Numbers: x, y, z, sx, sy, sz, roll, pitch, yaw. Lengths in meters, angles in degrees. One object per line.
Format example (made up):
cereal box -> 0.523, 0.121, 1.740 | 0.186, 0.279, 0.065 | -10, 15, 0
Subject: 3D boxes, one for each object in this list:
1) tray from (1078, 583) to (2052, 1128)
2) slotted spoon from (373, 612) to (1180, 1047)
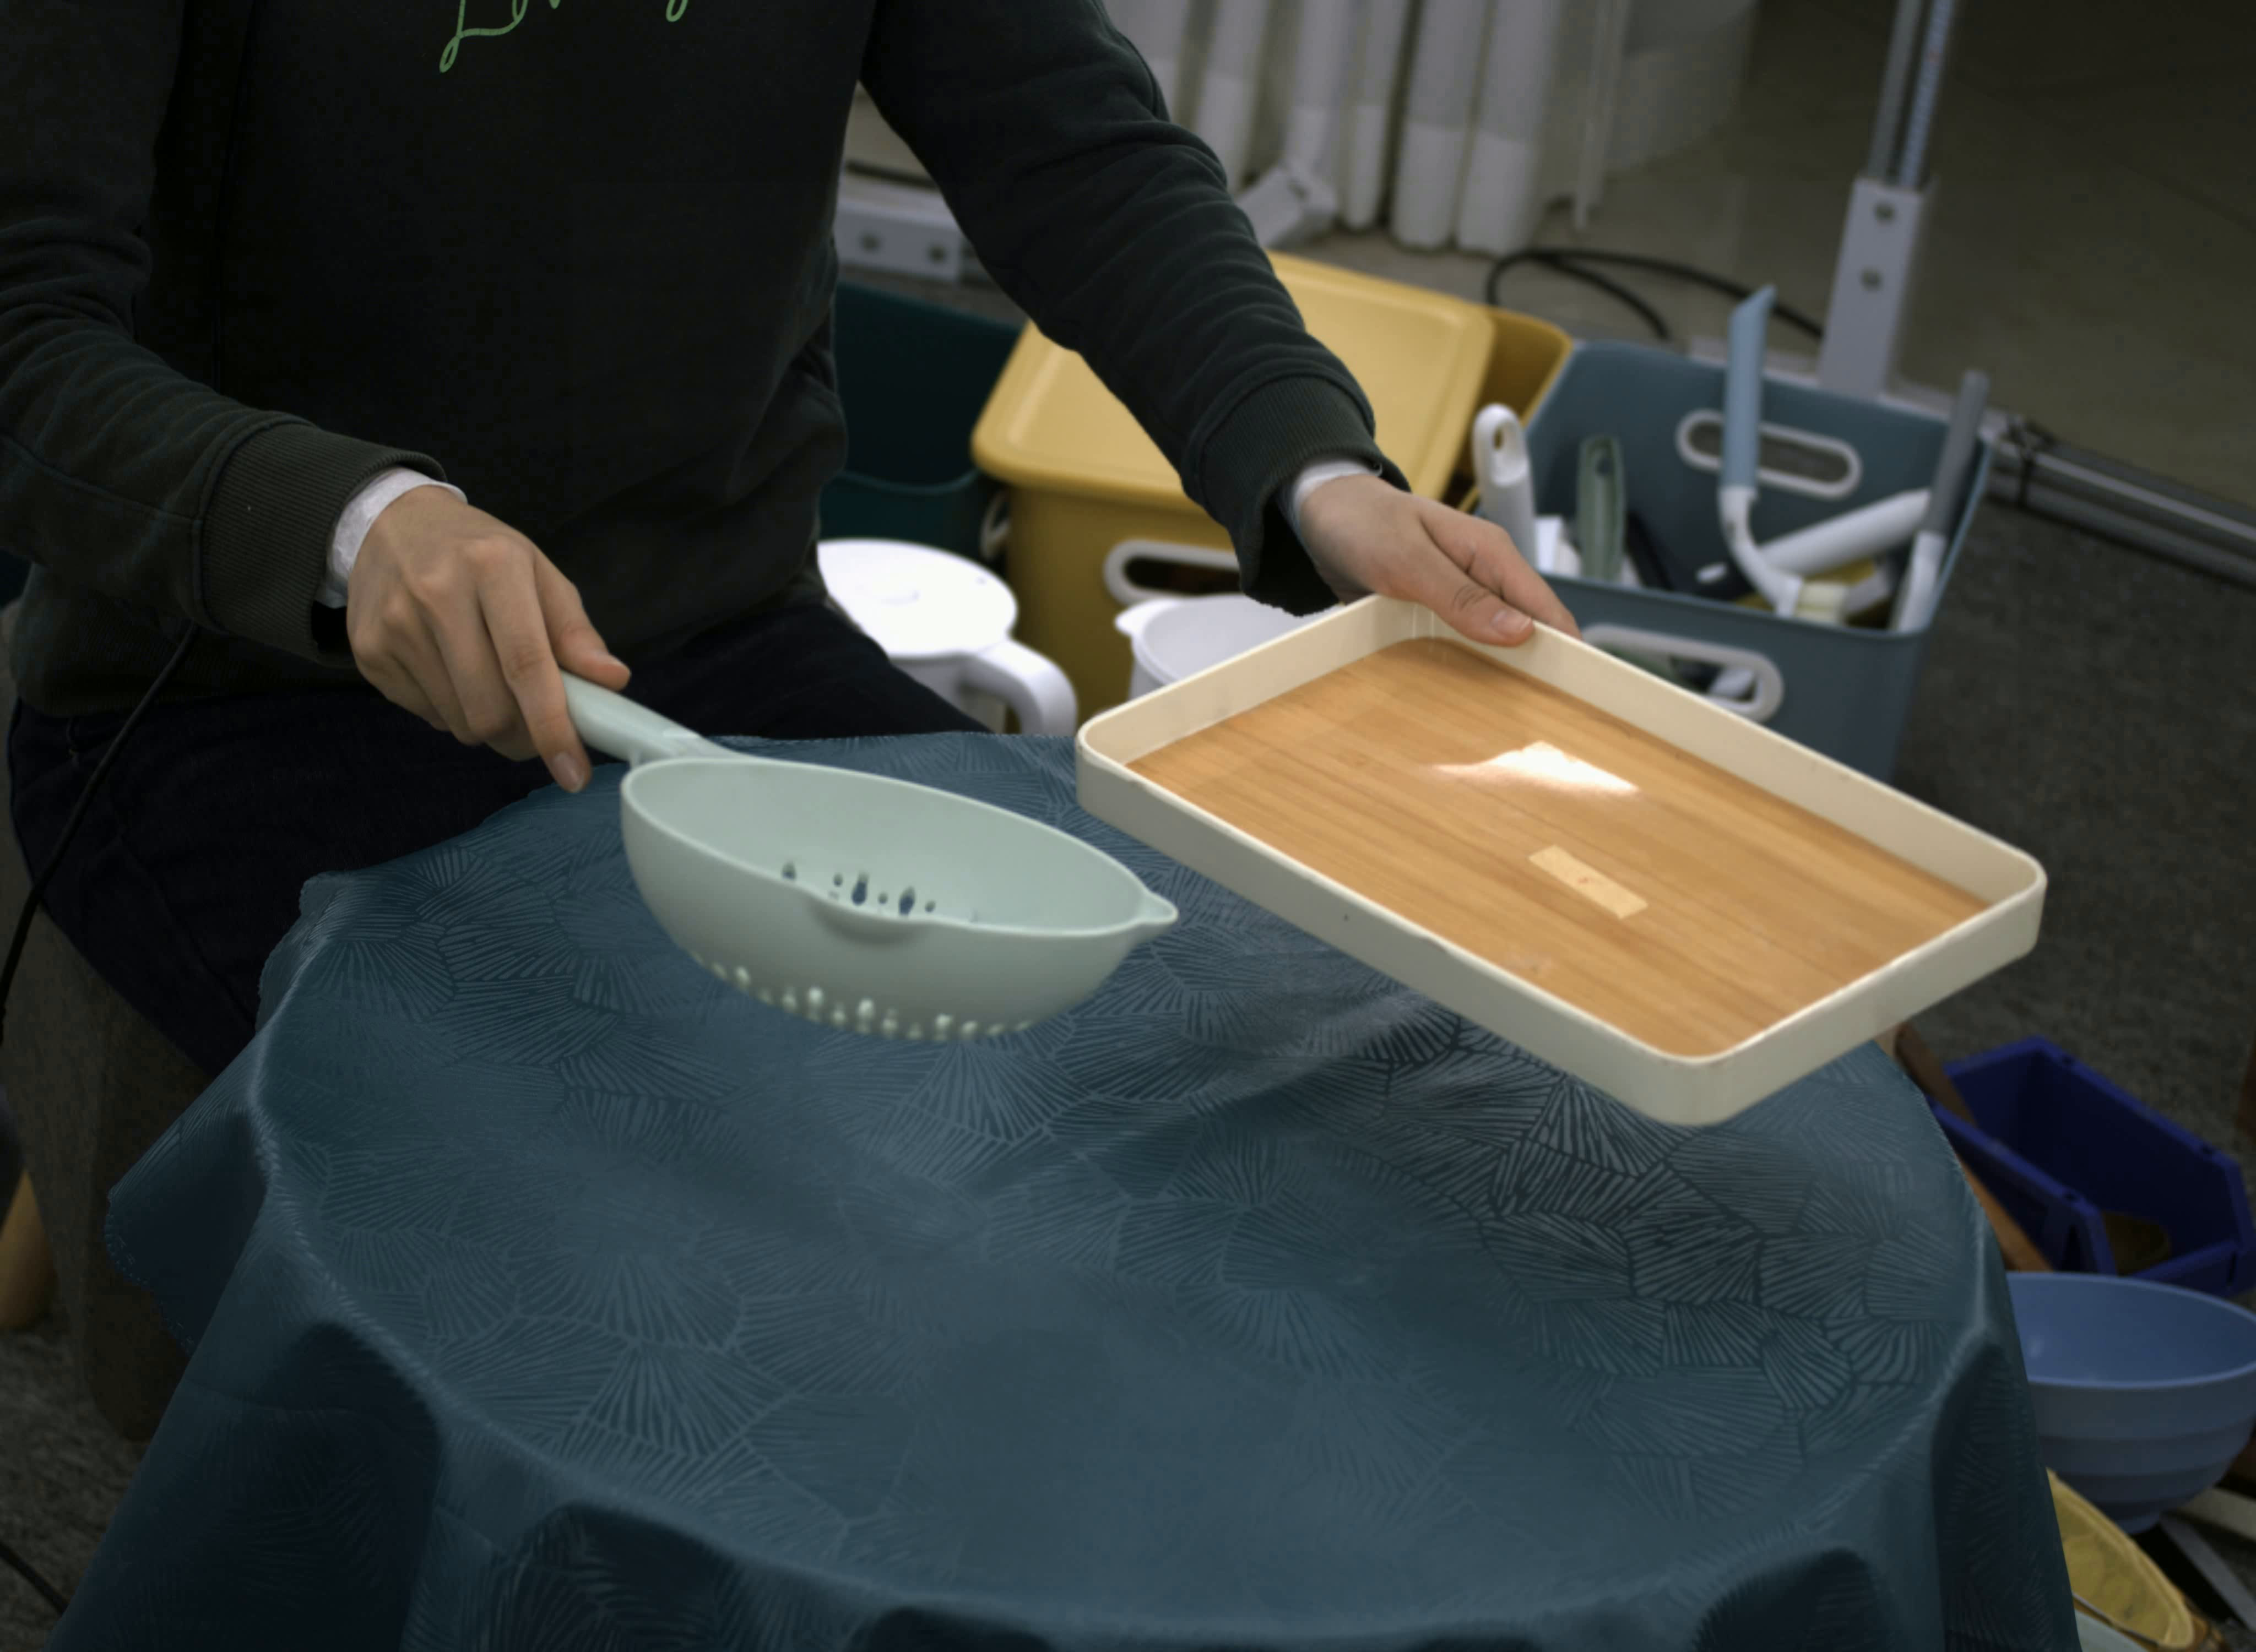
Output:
tray -> 0.145, 0.005, 1.819 | 0.191, 0.027, 0.302 | -24, 38, -36
slotted spoon -> -0.140, -0.013, 1.719 | 0.168, 0.075, 0.362 | 2, 25, -43
